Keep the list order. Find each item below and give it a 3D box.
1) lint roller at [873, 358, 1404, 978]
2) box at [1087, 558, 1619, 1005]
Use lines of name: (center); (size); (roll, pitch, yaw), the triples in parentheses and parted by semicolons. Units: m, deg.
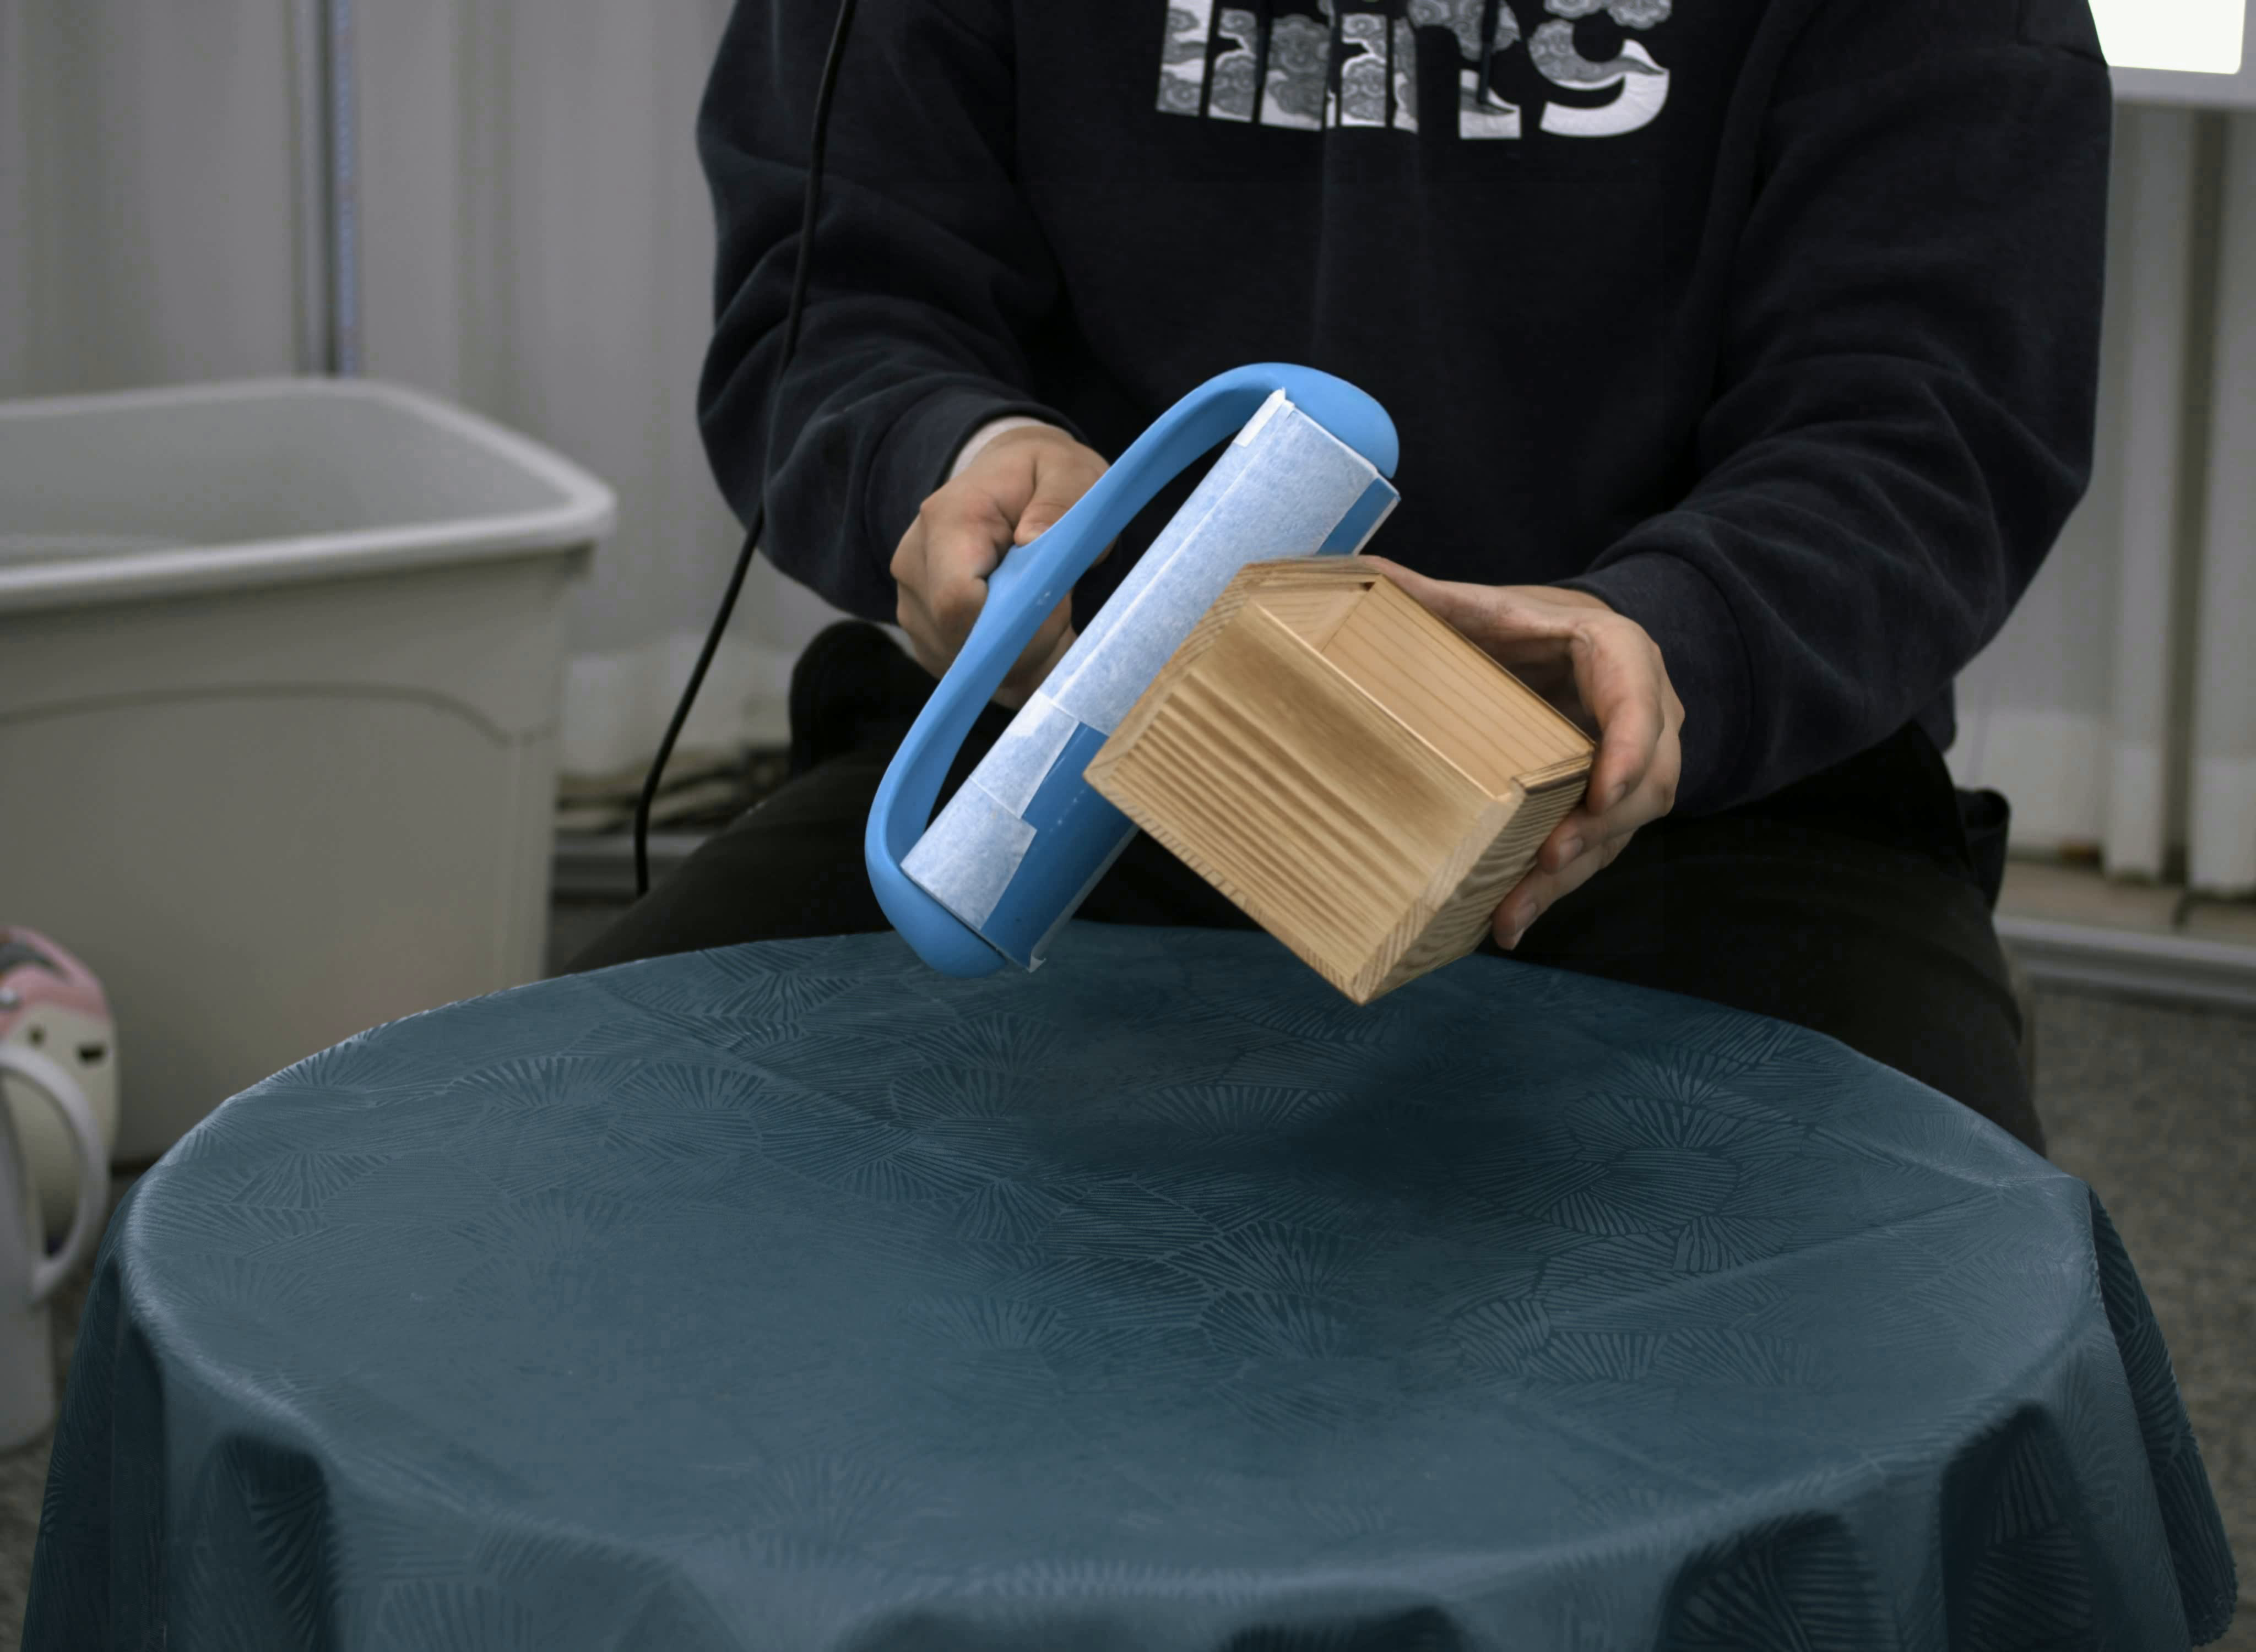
lint roller: (-0.015, -0.065, 1.726); (0.068, 0.229, 0.178); (36, 0, -29)
box: (0.073, -0.017, 1.597); (0.107, 0.080, 0.212); (40, 10, 7)
